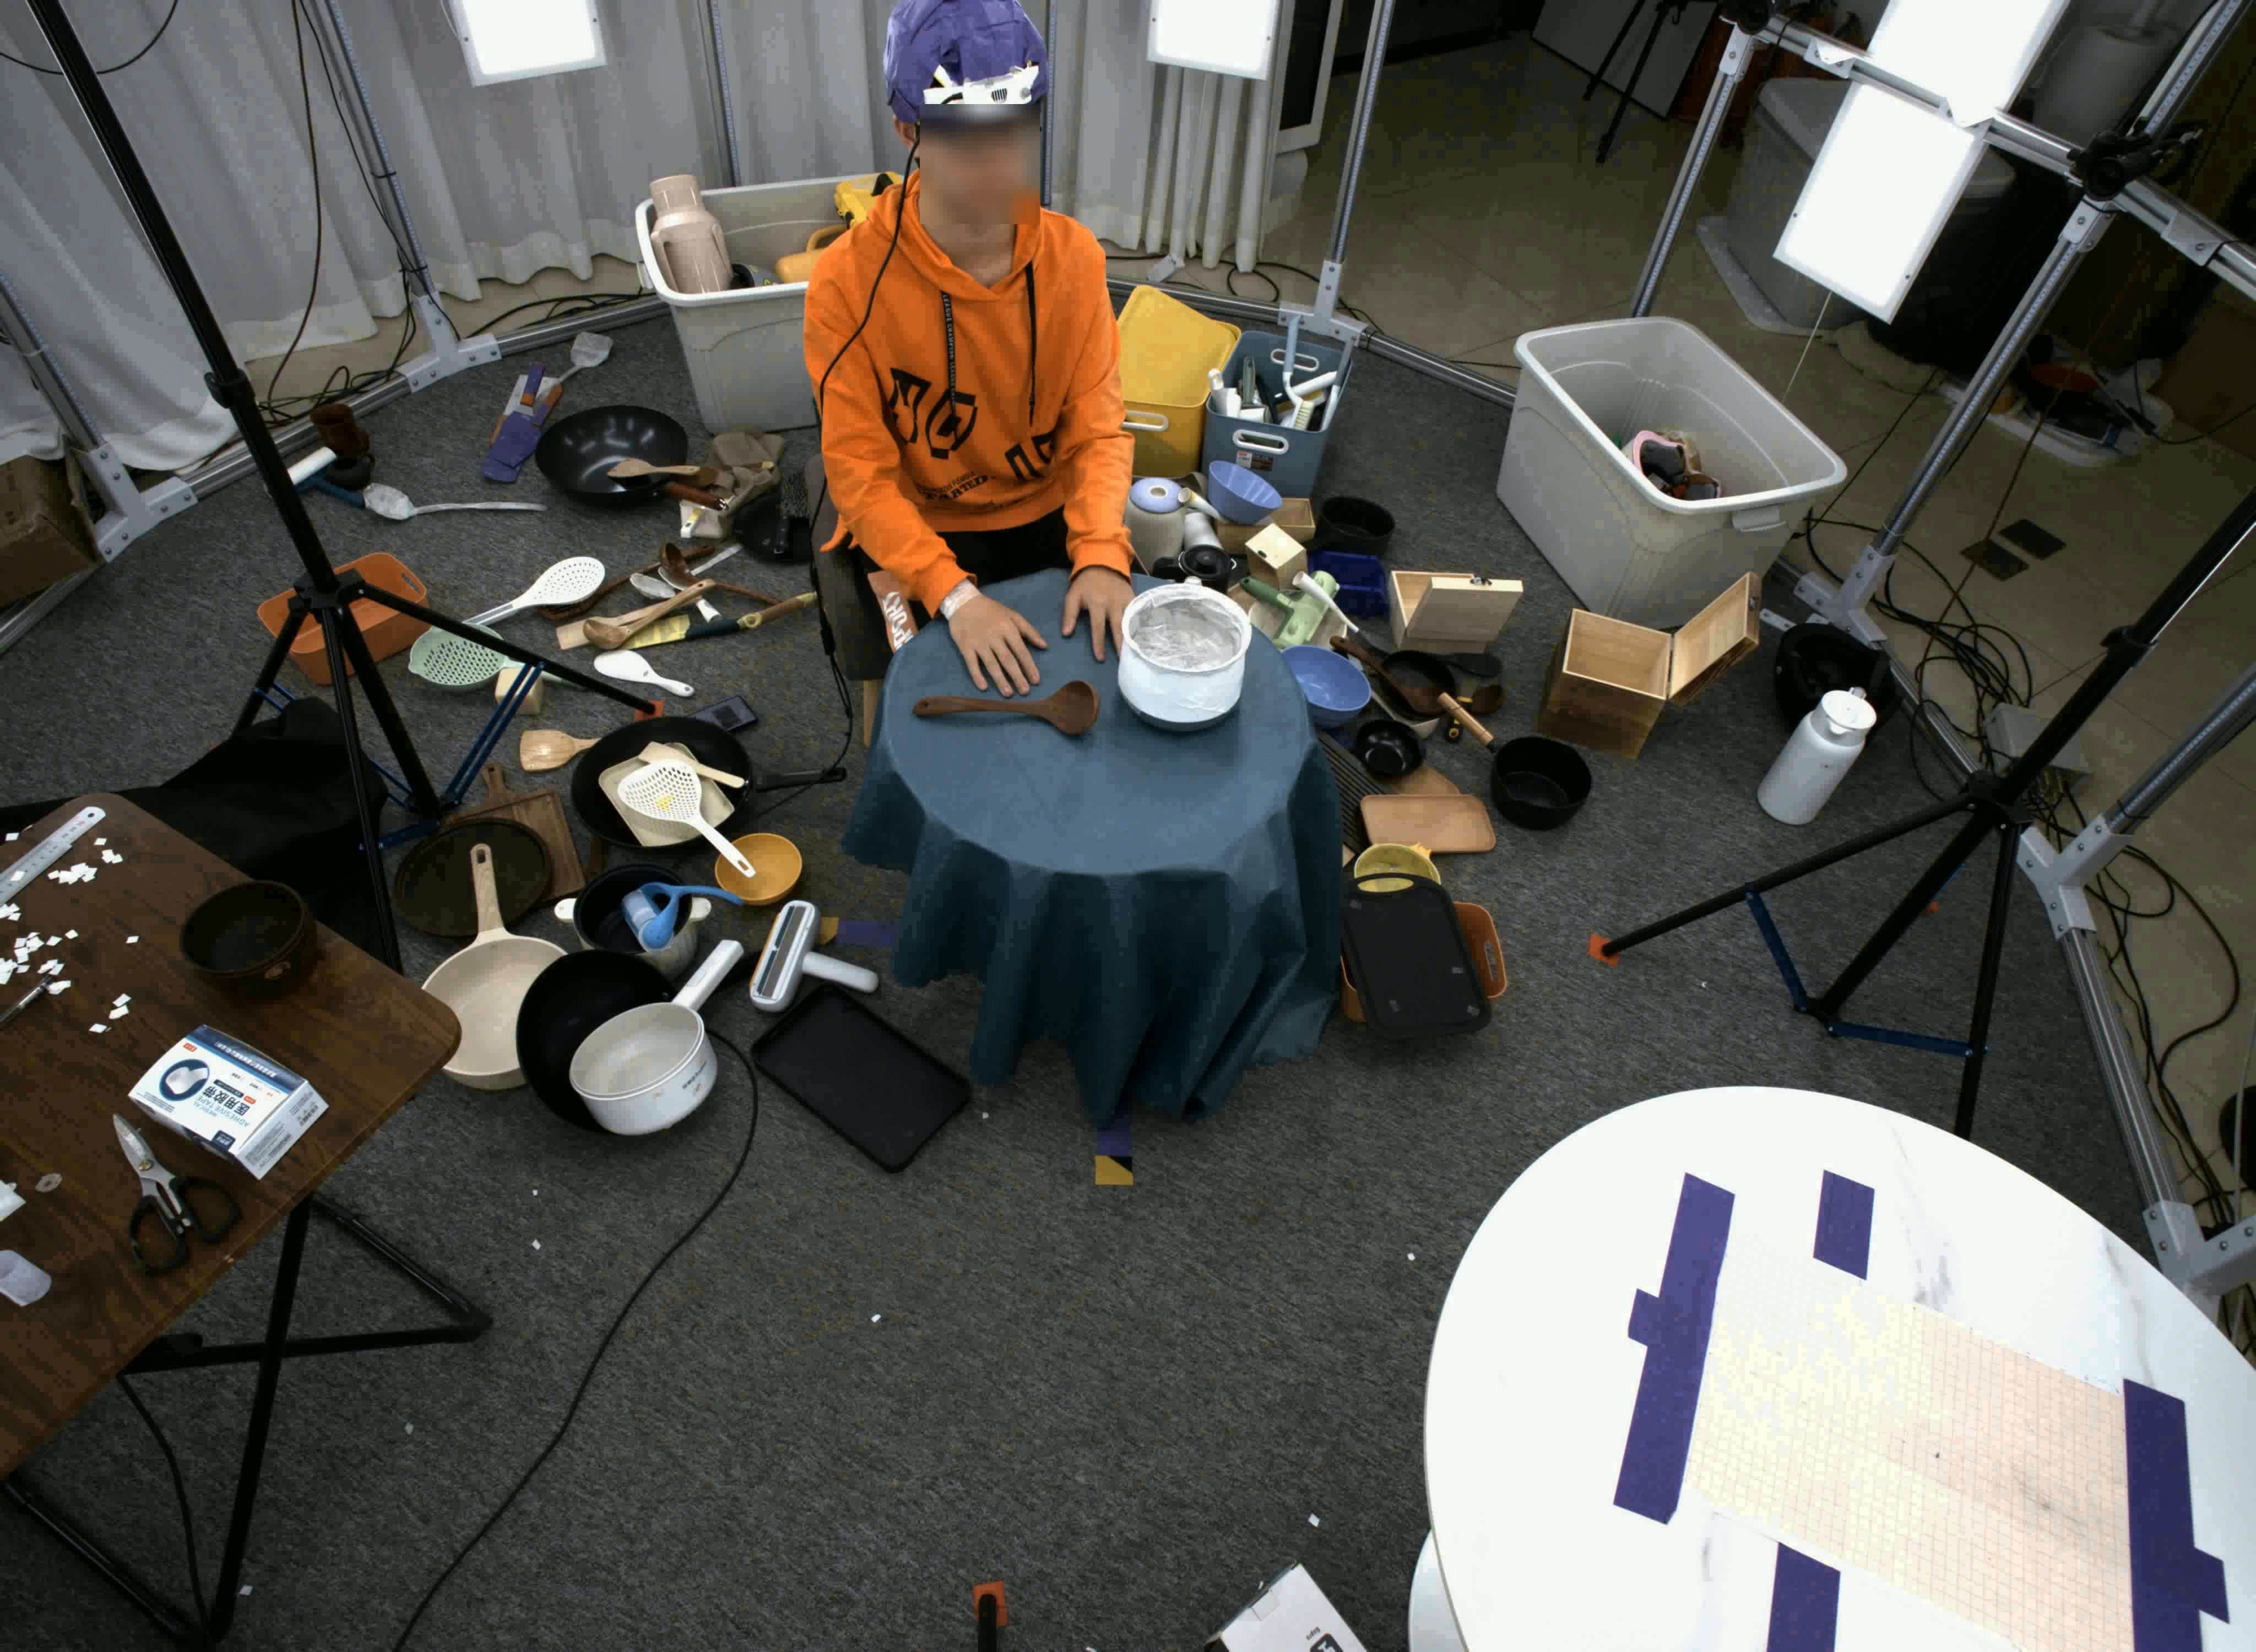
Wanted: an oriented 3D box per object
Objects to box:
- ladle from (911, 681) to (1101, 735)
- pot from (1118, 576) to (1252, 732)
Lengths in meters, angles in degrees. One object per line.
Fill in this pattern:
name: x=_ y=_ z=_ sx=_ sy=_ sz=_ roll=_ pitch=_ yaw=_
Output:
ladle: x=-0.168 y=-0.166 z=1.762 sx=0.260 sy=0.064 sz=0.077 roll=2 pitch=74 yaw=-3
pot: x=0.078 y=-0.251 z=1.804 sx=0.178 sy=0.133 sz=0.239 roll=7 pitch=49 yaw=1
